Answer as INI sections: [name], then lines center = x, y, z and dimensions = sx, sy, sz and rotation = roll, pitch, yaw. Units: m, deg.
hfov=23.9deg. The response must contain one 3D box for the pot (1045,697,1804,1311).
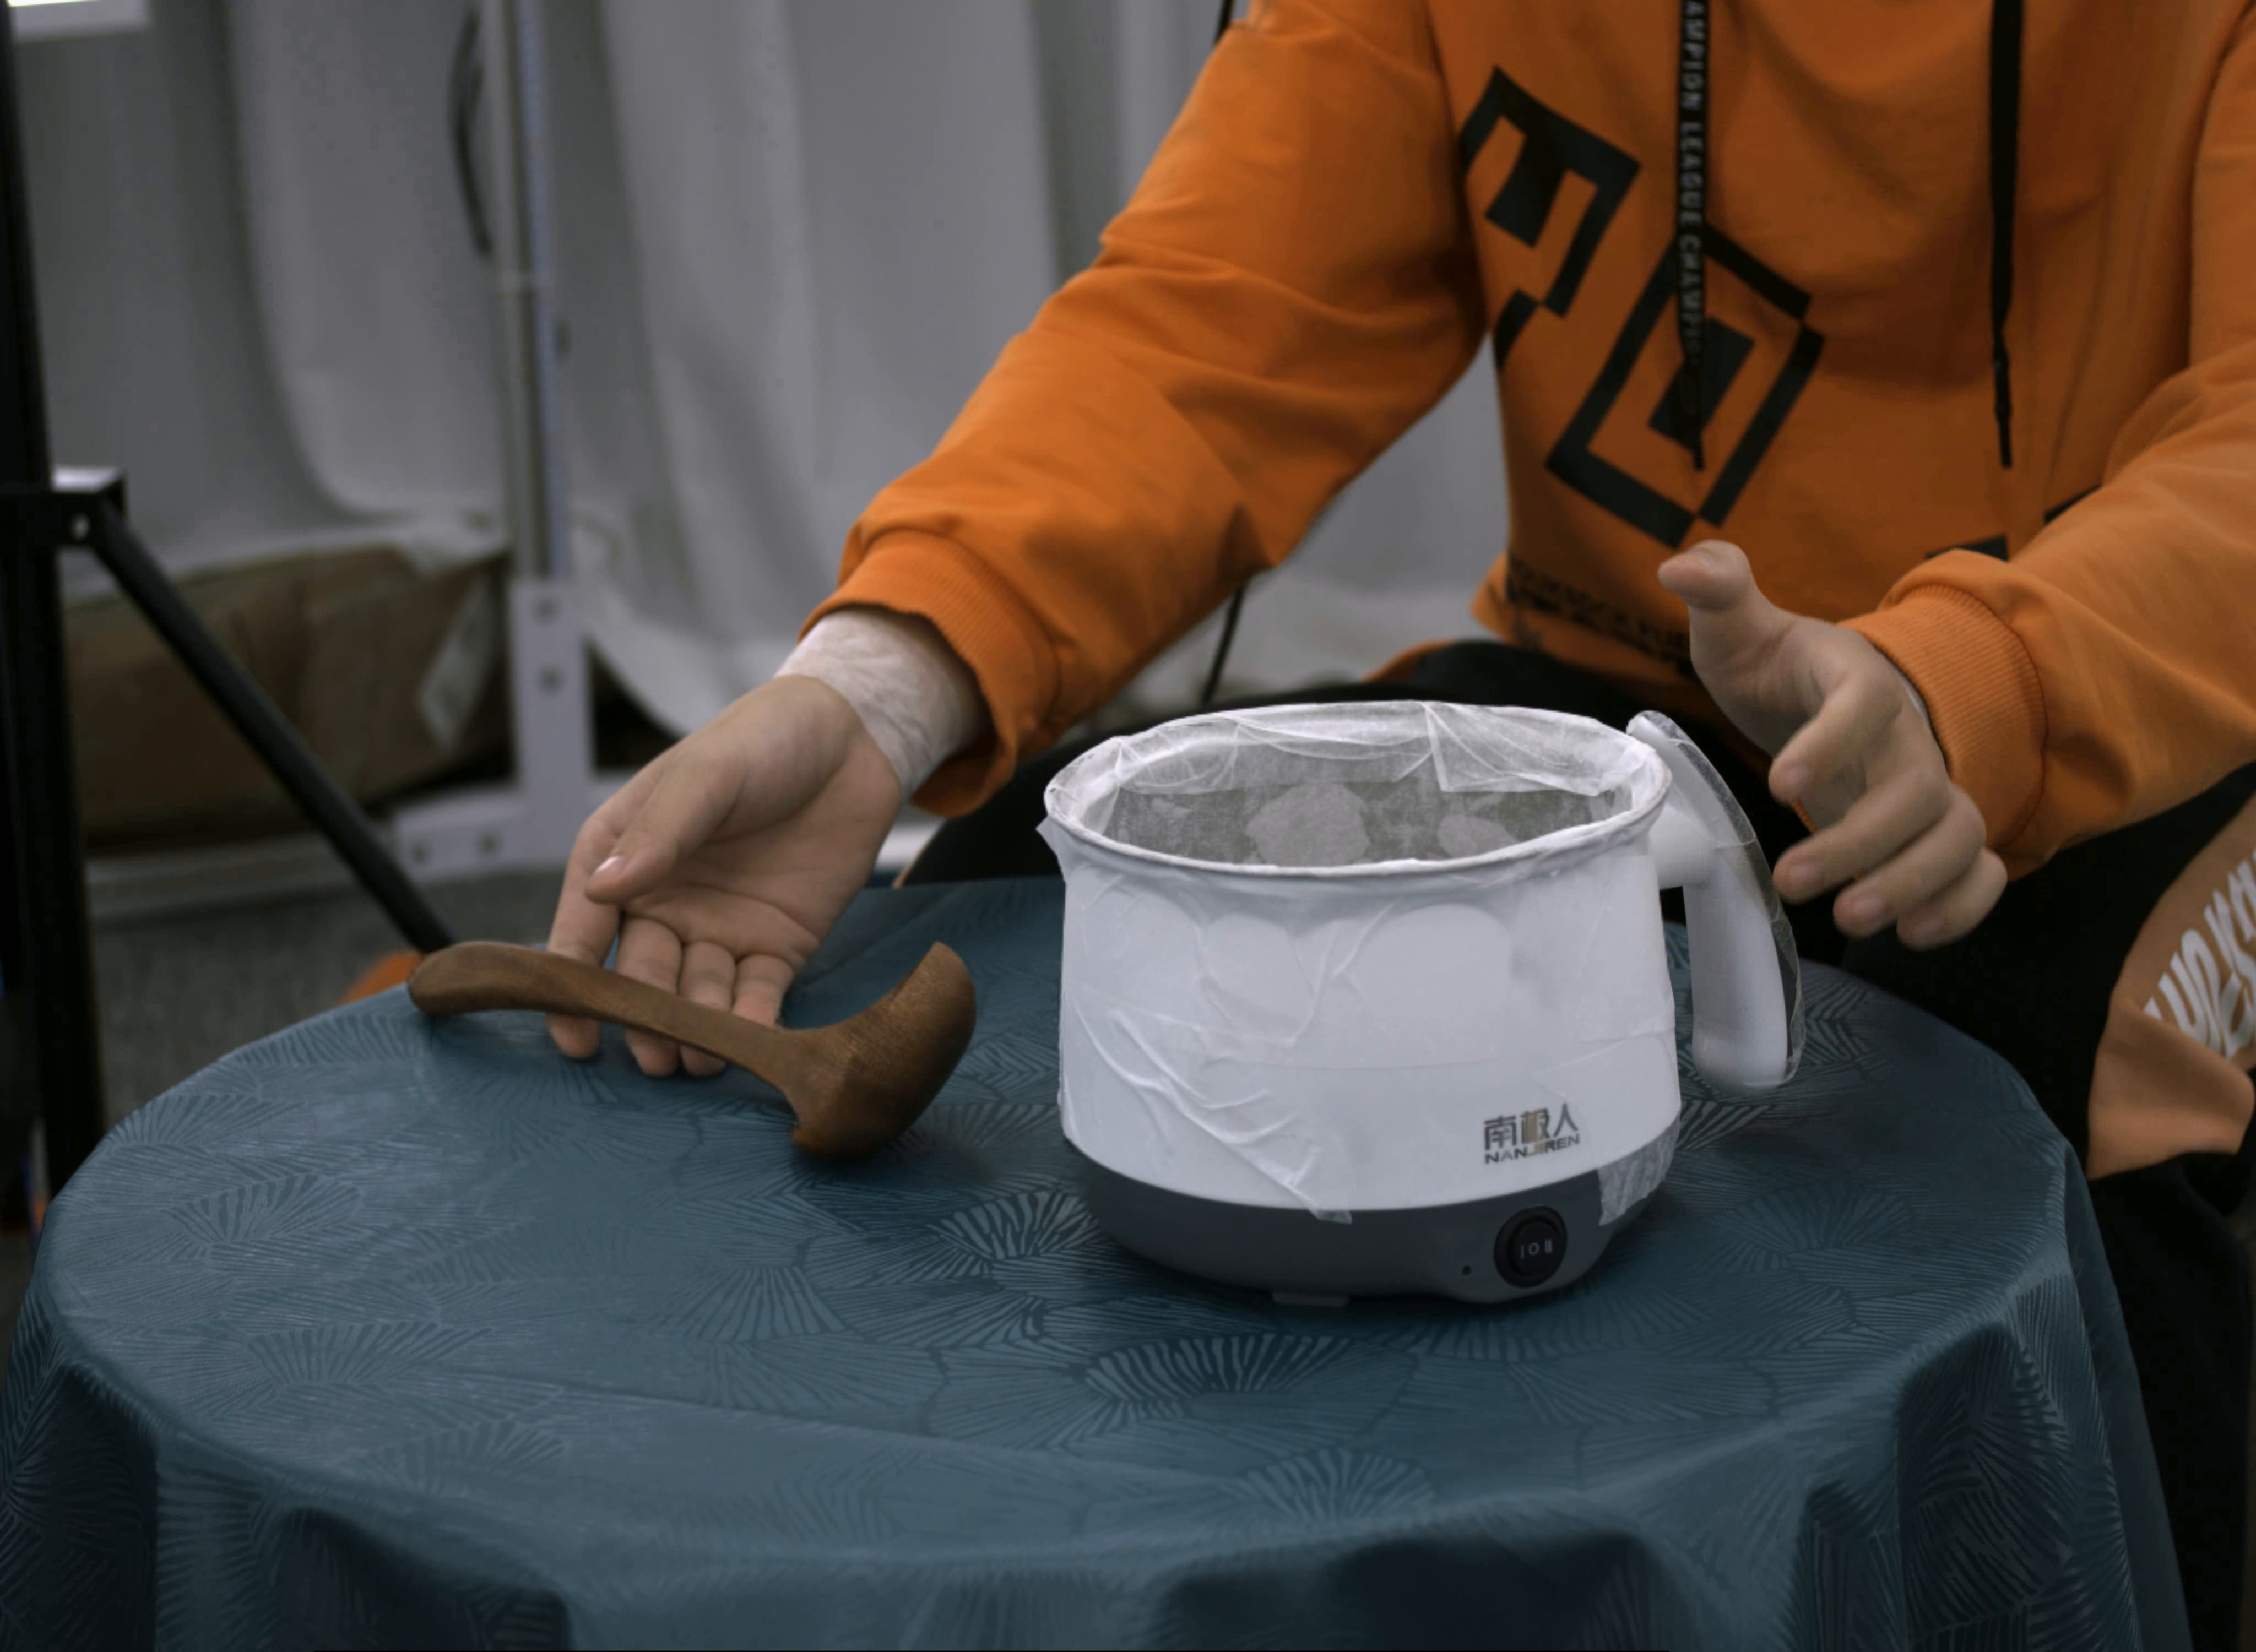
[pot]
center = 0.091, 0.044, 1.517
dimensions = 0.229, 0.136, 0.182
rotation = -11, 18, -27

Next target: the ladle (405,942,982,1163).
[ladle]
center = -0.146, 0.054, 1.664
dimensions = 0.266, 0.064, 0.076
rotation = 13, 50, 42
